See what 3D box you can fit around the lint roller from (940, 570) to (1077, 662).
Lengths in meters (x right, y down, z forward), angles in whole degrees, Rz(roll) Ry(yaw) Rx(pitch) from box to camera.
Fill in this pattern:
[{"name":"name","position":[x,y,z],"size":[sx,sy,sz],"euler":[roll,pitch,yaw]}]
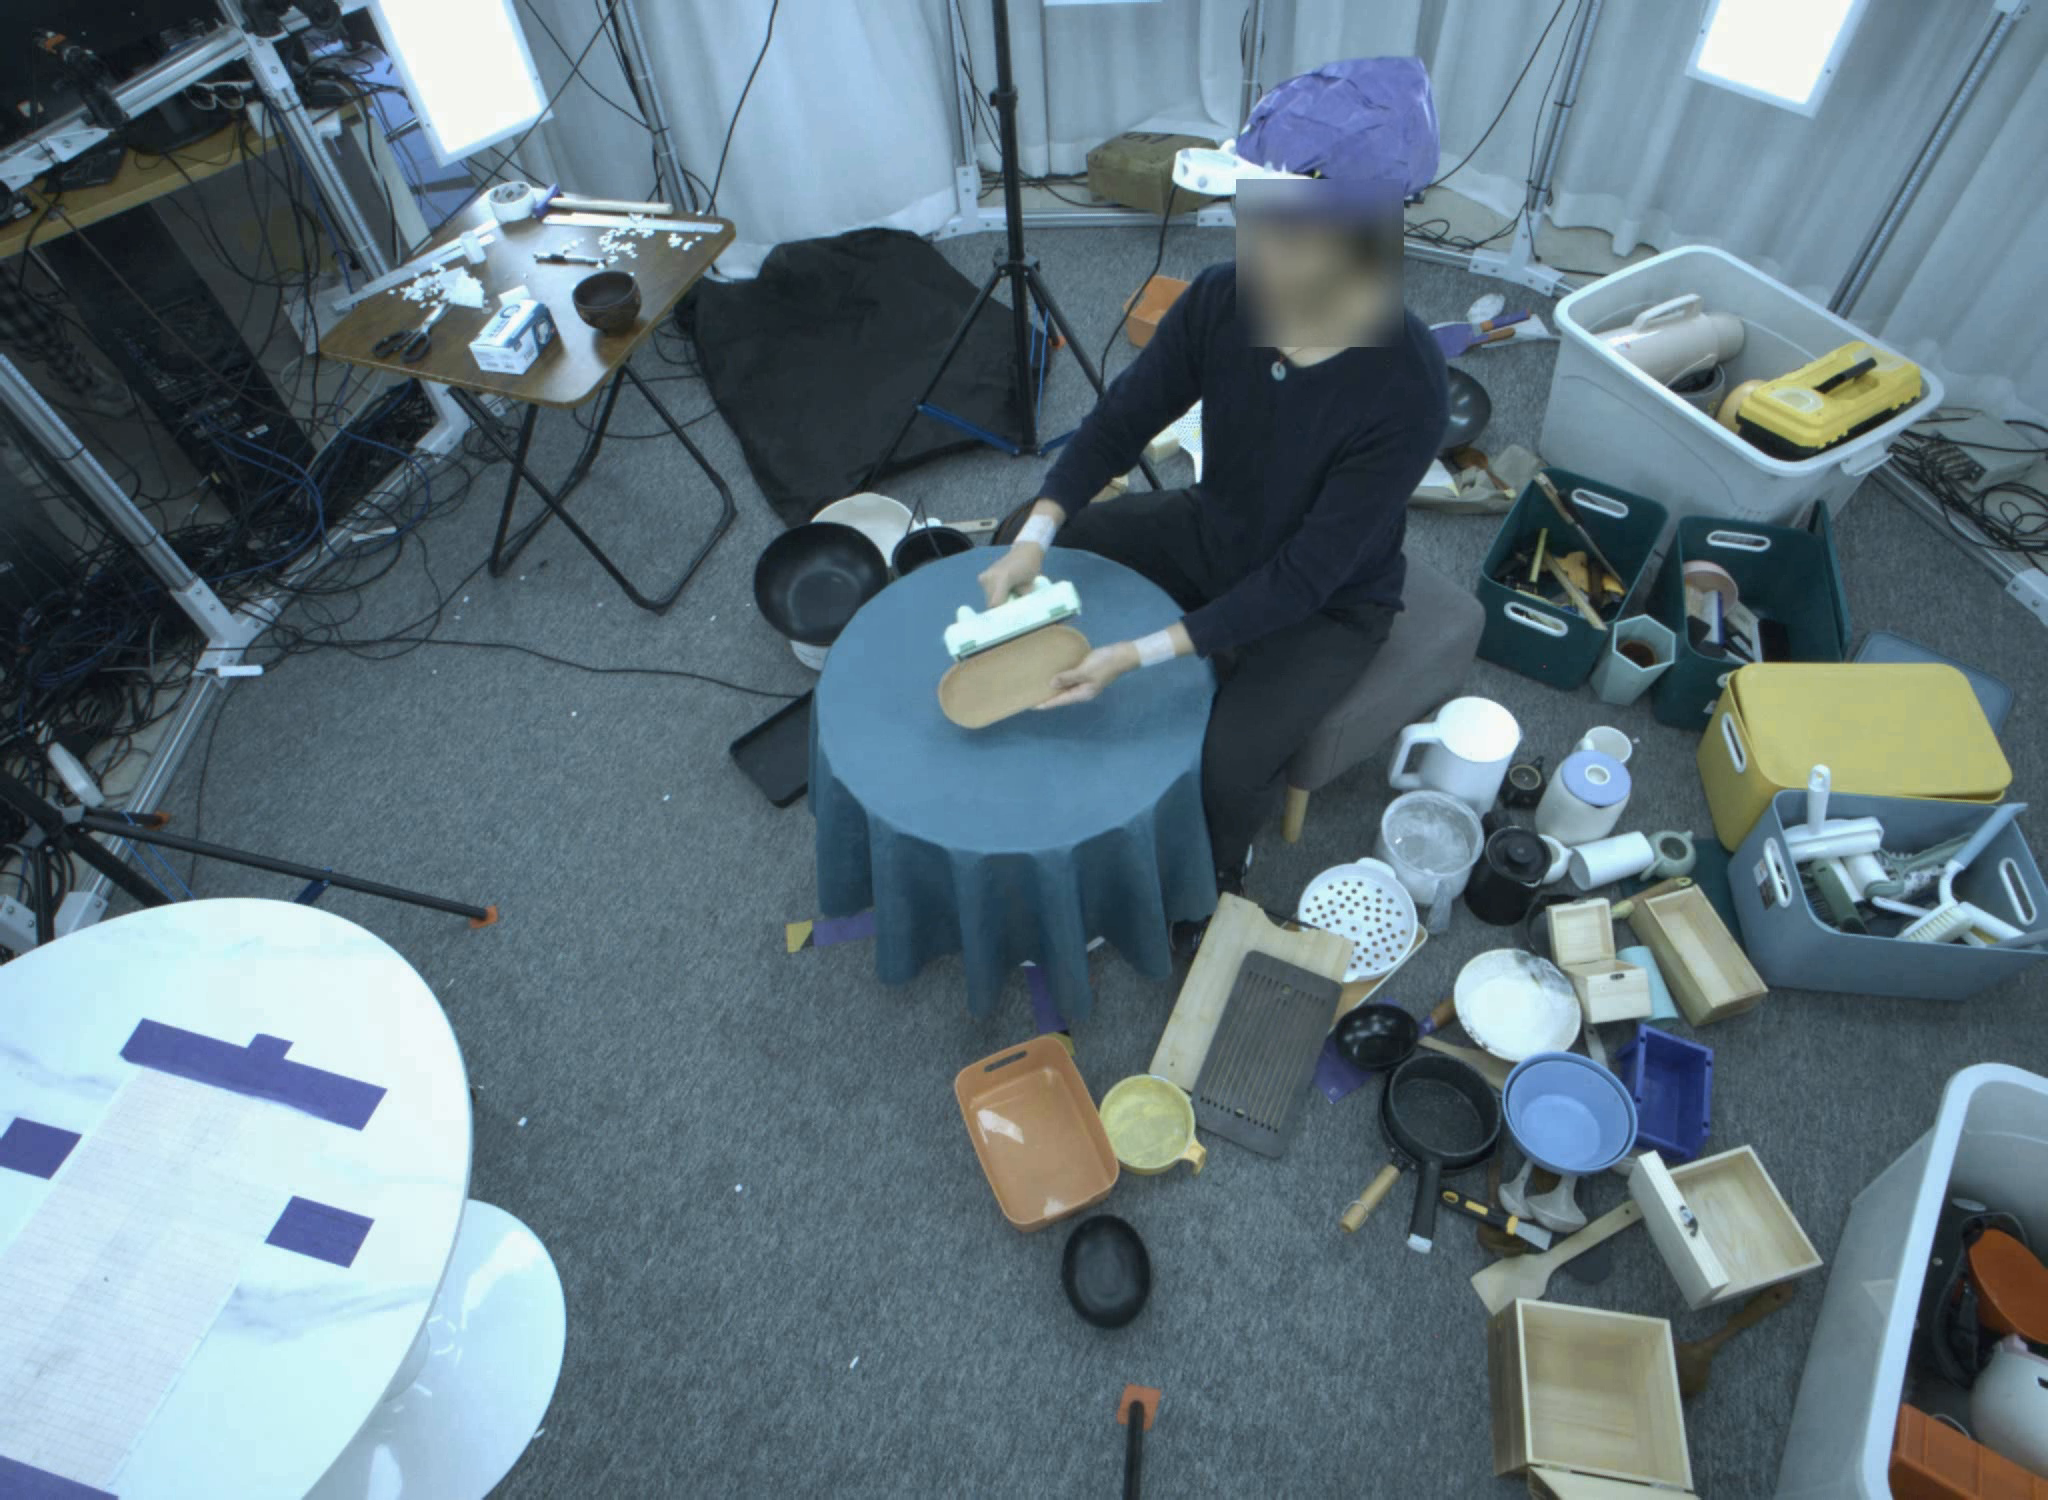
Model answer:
[{"name":"lint roller","position":[-0.033,-0.225,1.771],"size":[0.198,0.084,0.180],"euler":[-21,45,7]}]

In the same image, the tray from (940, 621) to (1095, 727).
[{"name":"tray","position":[-0.010,-0.109,1.755],"size":[0.231,0.103,0.020],"euler":[-23,17,4]}]
